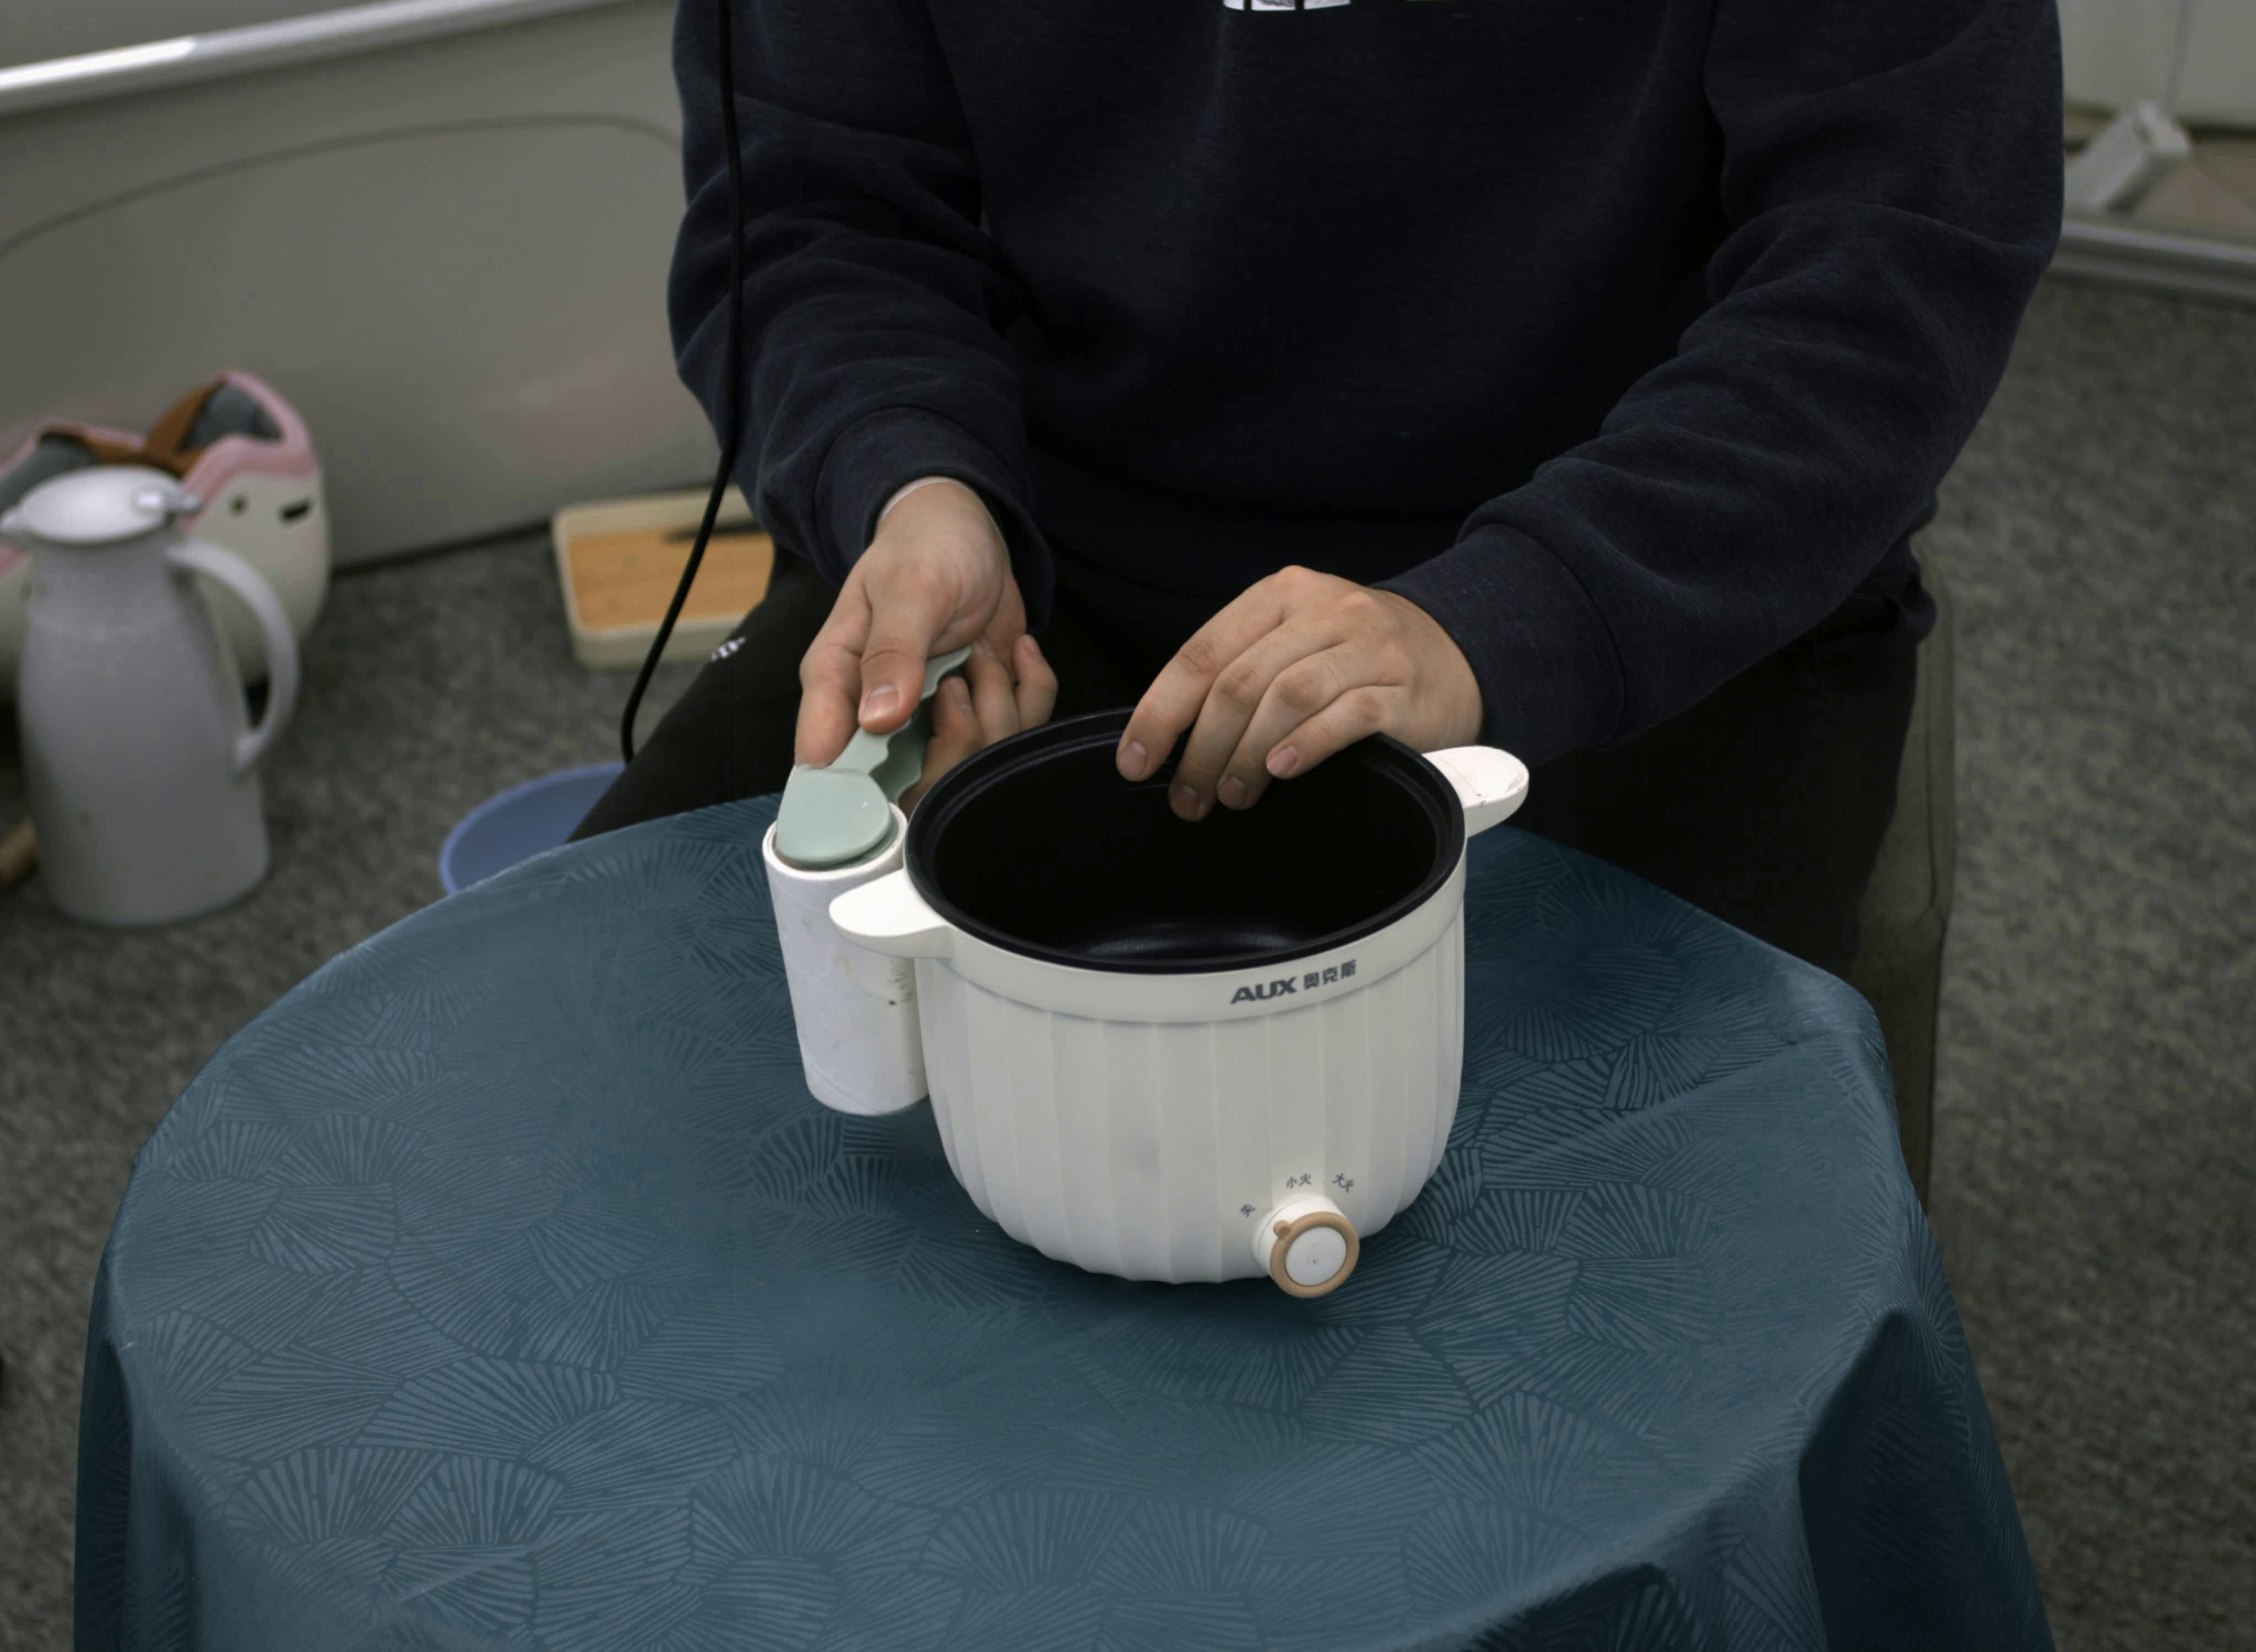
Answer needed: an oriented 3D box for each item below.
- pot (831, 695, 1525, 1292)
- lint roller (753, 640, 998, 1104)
[{"bbox_3d":[0.025,0.060,1.833,0.241,0.141,0.191,-14,26,-18],"label":"pot"},{"bbox_3d":[-0.082,-0.006,1.906,0.048,0.115,0.201,-5,34,11],"label":"lint roller"}]
